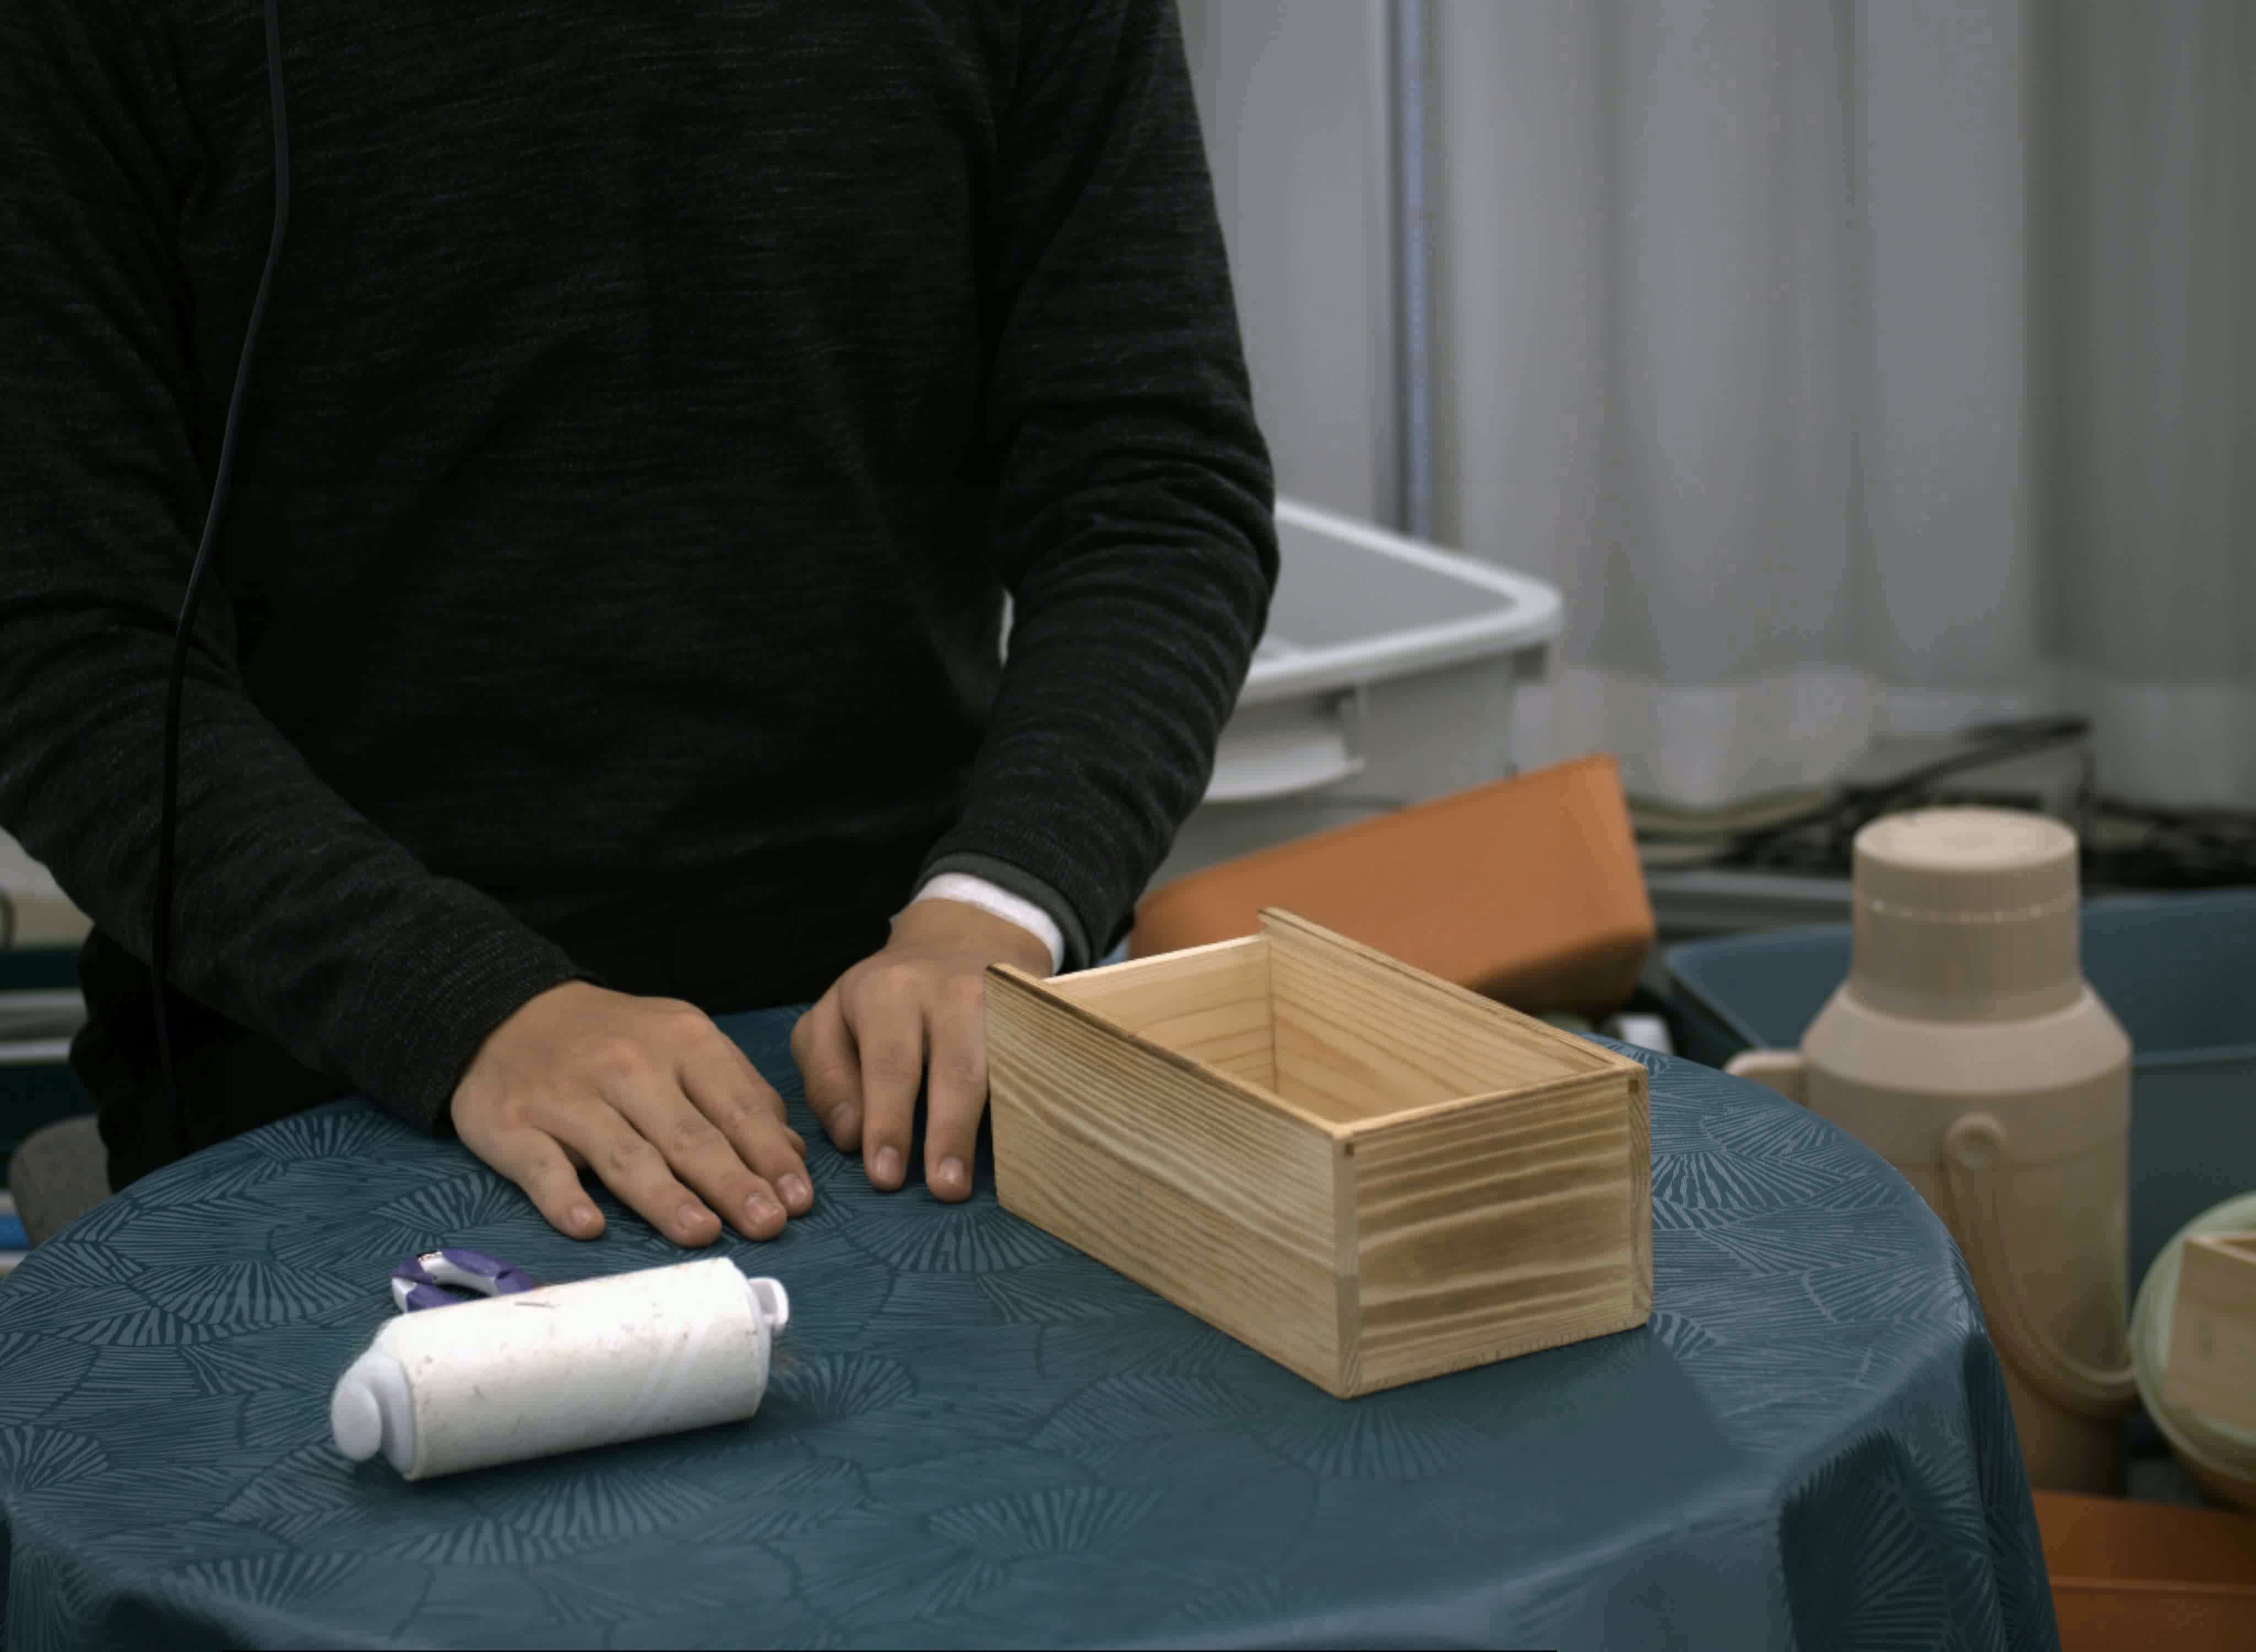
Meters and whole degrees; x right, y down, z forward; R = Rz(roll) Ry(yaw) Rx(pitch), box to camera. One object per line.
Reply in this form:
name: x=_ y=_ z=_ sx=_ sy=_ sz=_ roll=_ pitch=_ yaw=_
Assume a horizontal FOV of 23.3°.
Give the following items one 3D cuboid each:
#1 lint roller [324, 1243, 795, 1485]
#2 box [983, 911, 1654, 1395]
lint roller: x=-0.179 y=0.135 z=1.579 sx=0.132 sy=0.050 sz=0.182 roll=-9 pitch=18 yaw=-19
box: x=0.053 y=0.094 z=1.629 sx=0.107 sy=0.080 sz=0.213 roll=-11 pitch=16 yaw=-27
